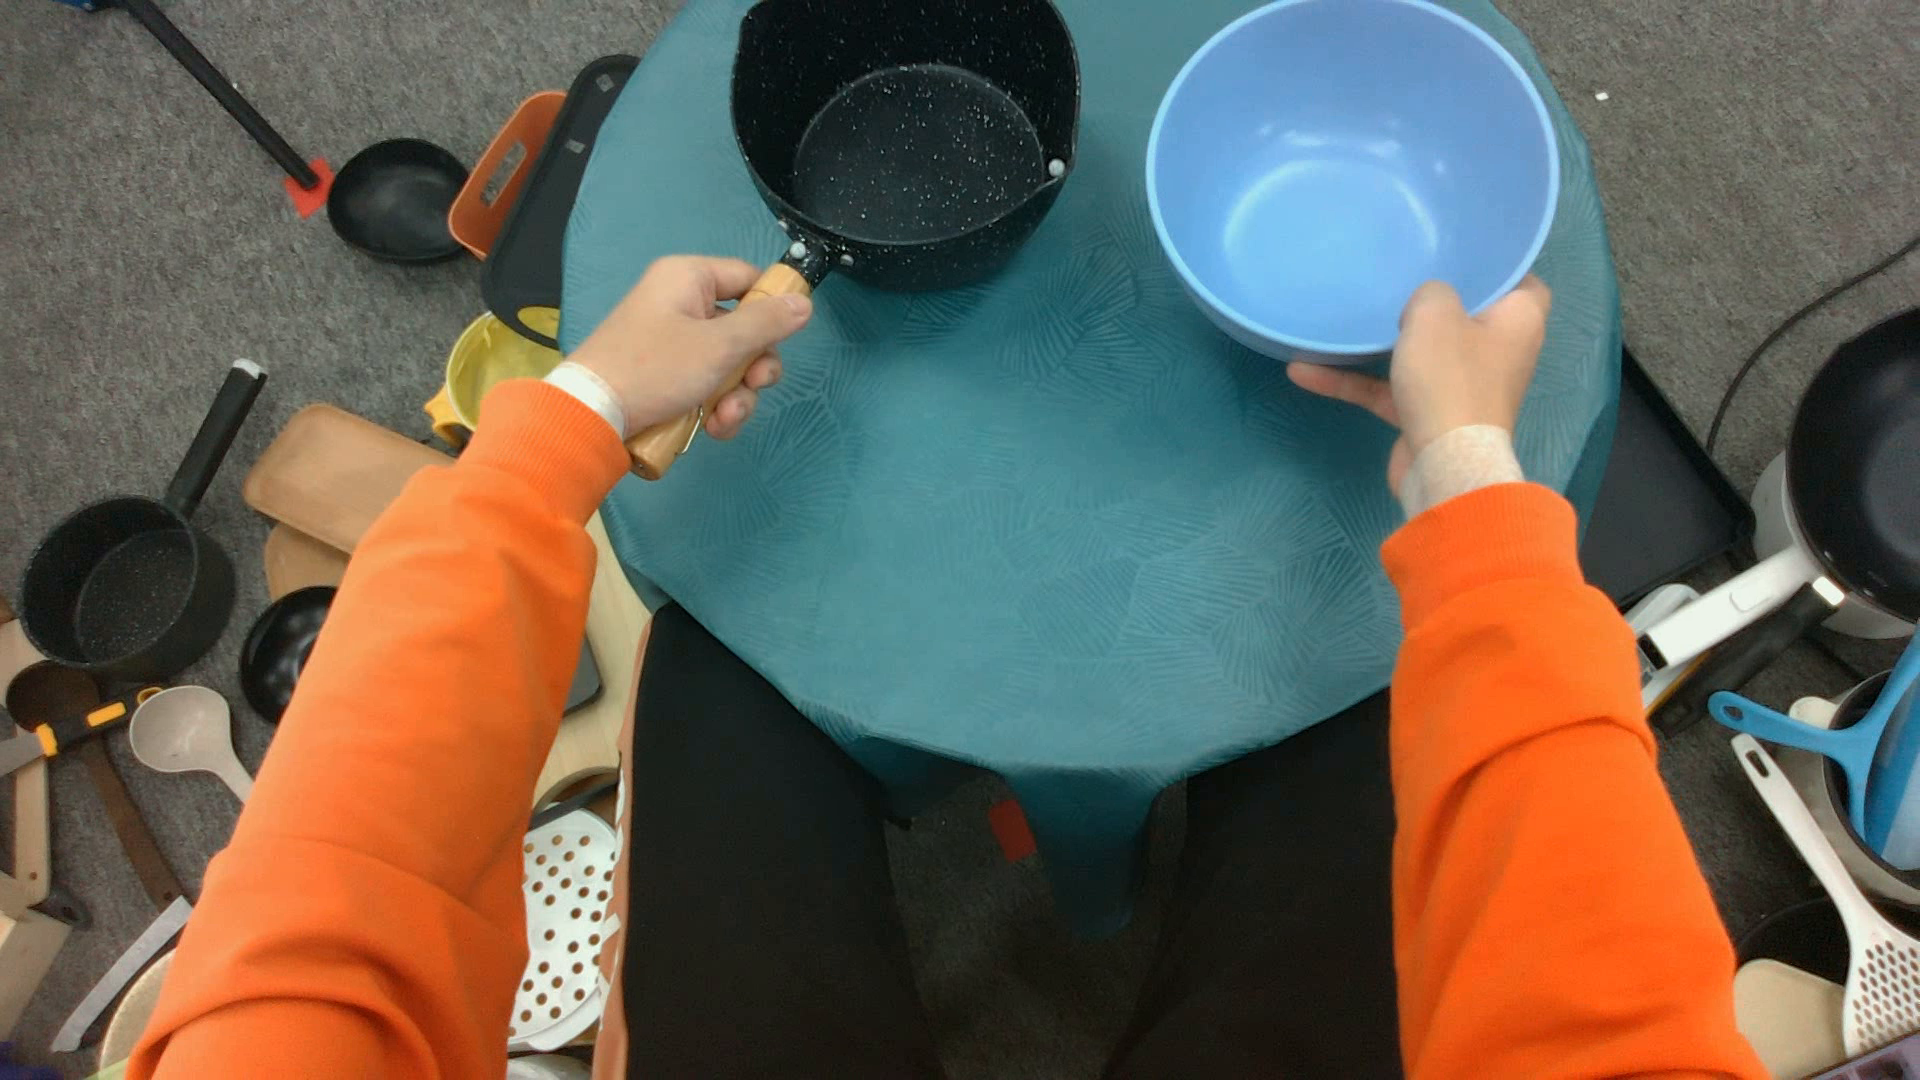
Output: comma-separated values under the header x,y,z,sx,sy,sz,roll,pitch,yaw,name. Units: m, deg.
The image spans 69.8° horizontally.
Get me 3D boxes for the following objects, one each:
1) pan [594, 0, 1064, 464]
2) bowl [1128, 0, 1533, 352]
x,y,z,sx,sy,sz,roll,pitch,yaw,name
-0.075,-0.167,0.728,0.207,0.108,0.344,27,74,9,pan
0.184,-0.179,0.721,0.196,0.095,0.197,-1,74,4,bowl
